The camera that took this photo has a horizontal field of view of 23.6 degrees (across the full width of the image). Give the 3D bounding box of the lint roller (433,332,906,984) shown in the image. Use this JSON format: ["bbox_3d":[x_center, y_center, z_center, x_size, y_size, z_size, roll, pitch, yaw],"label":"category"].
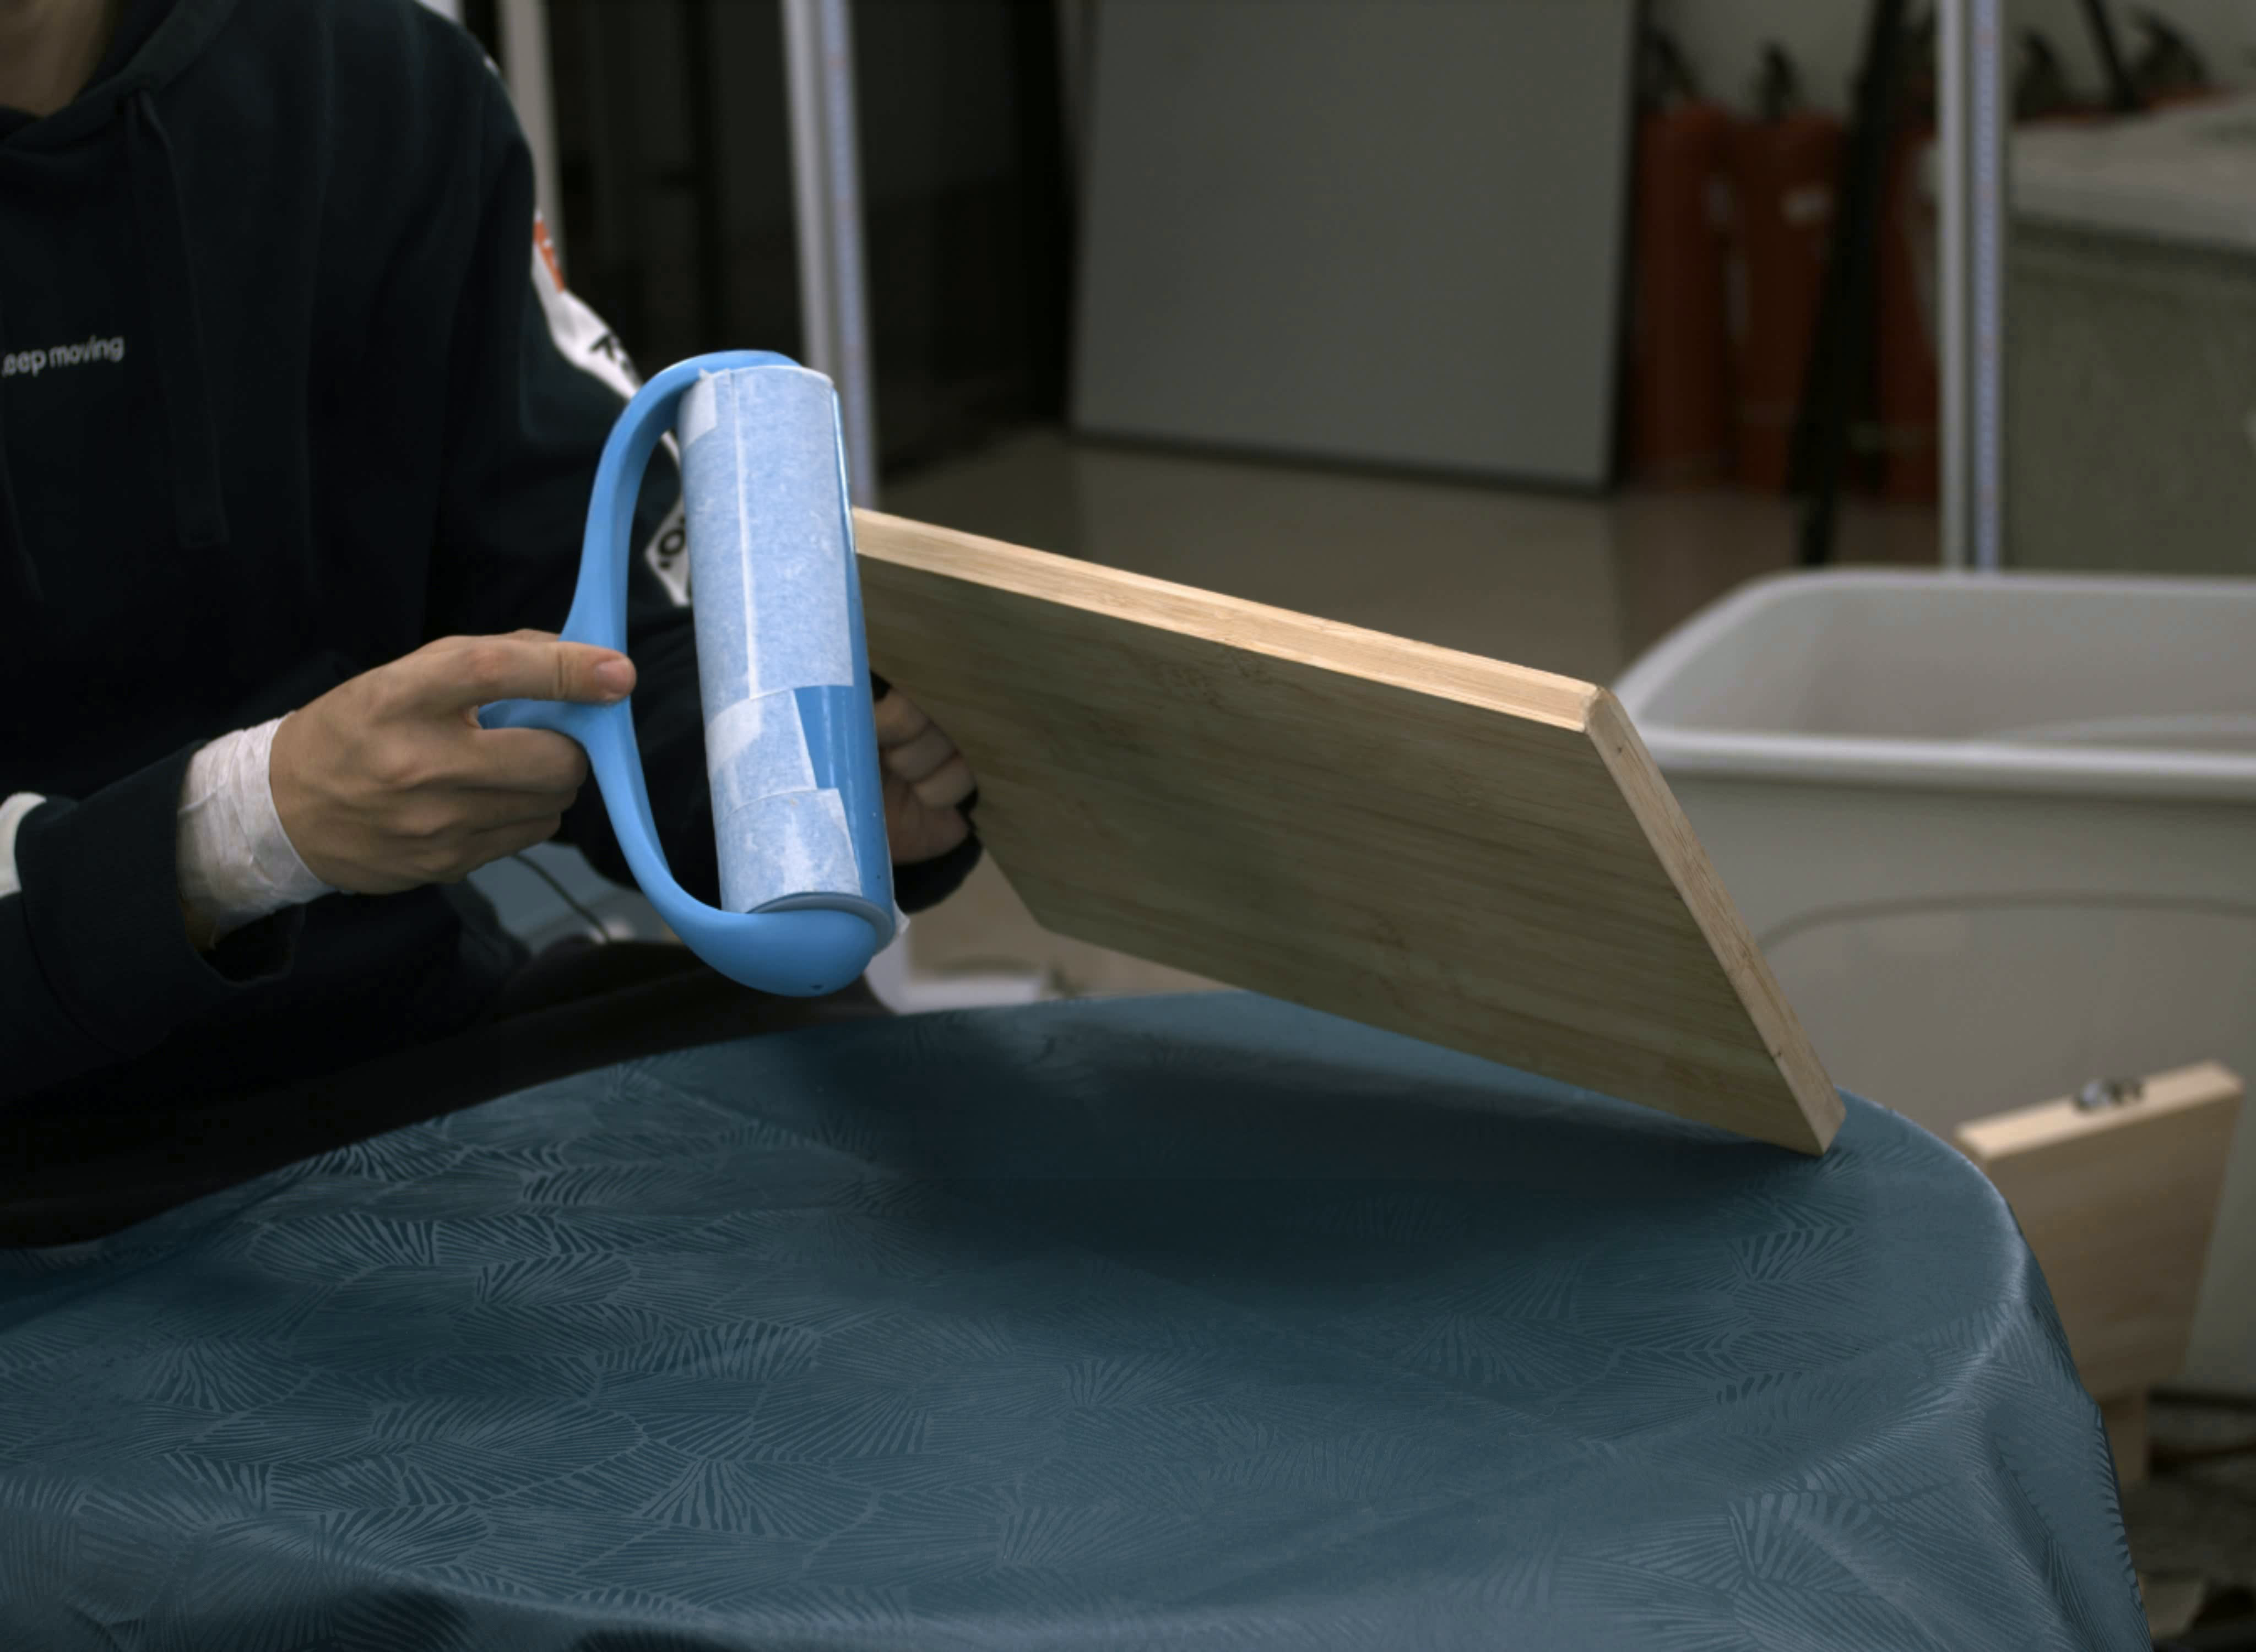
[{"bbox_3d":[-0.159,-0.034,1.717,0.180,0.232,0.067,-23,-30,20],"label":"lint roller"}]

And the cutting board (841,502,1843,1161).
[{"bbox_3d":[0.052,-0.002,1.787,0.351,0.249,0.023,15,62,38],"label":"cutting board"}]
